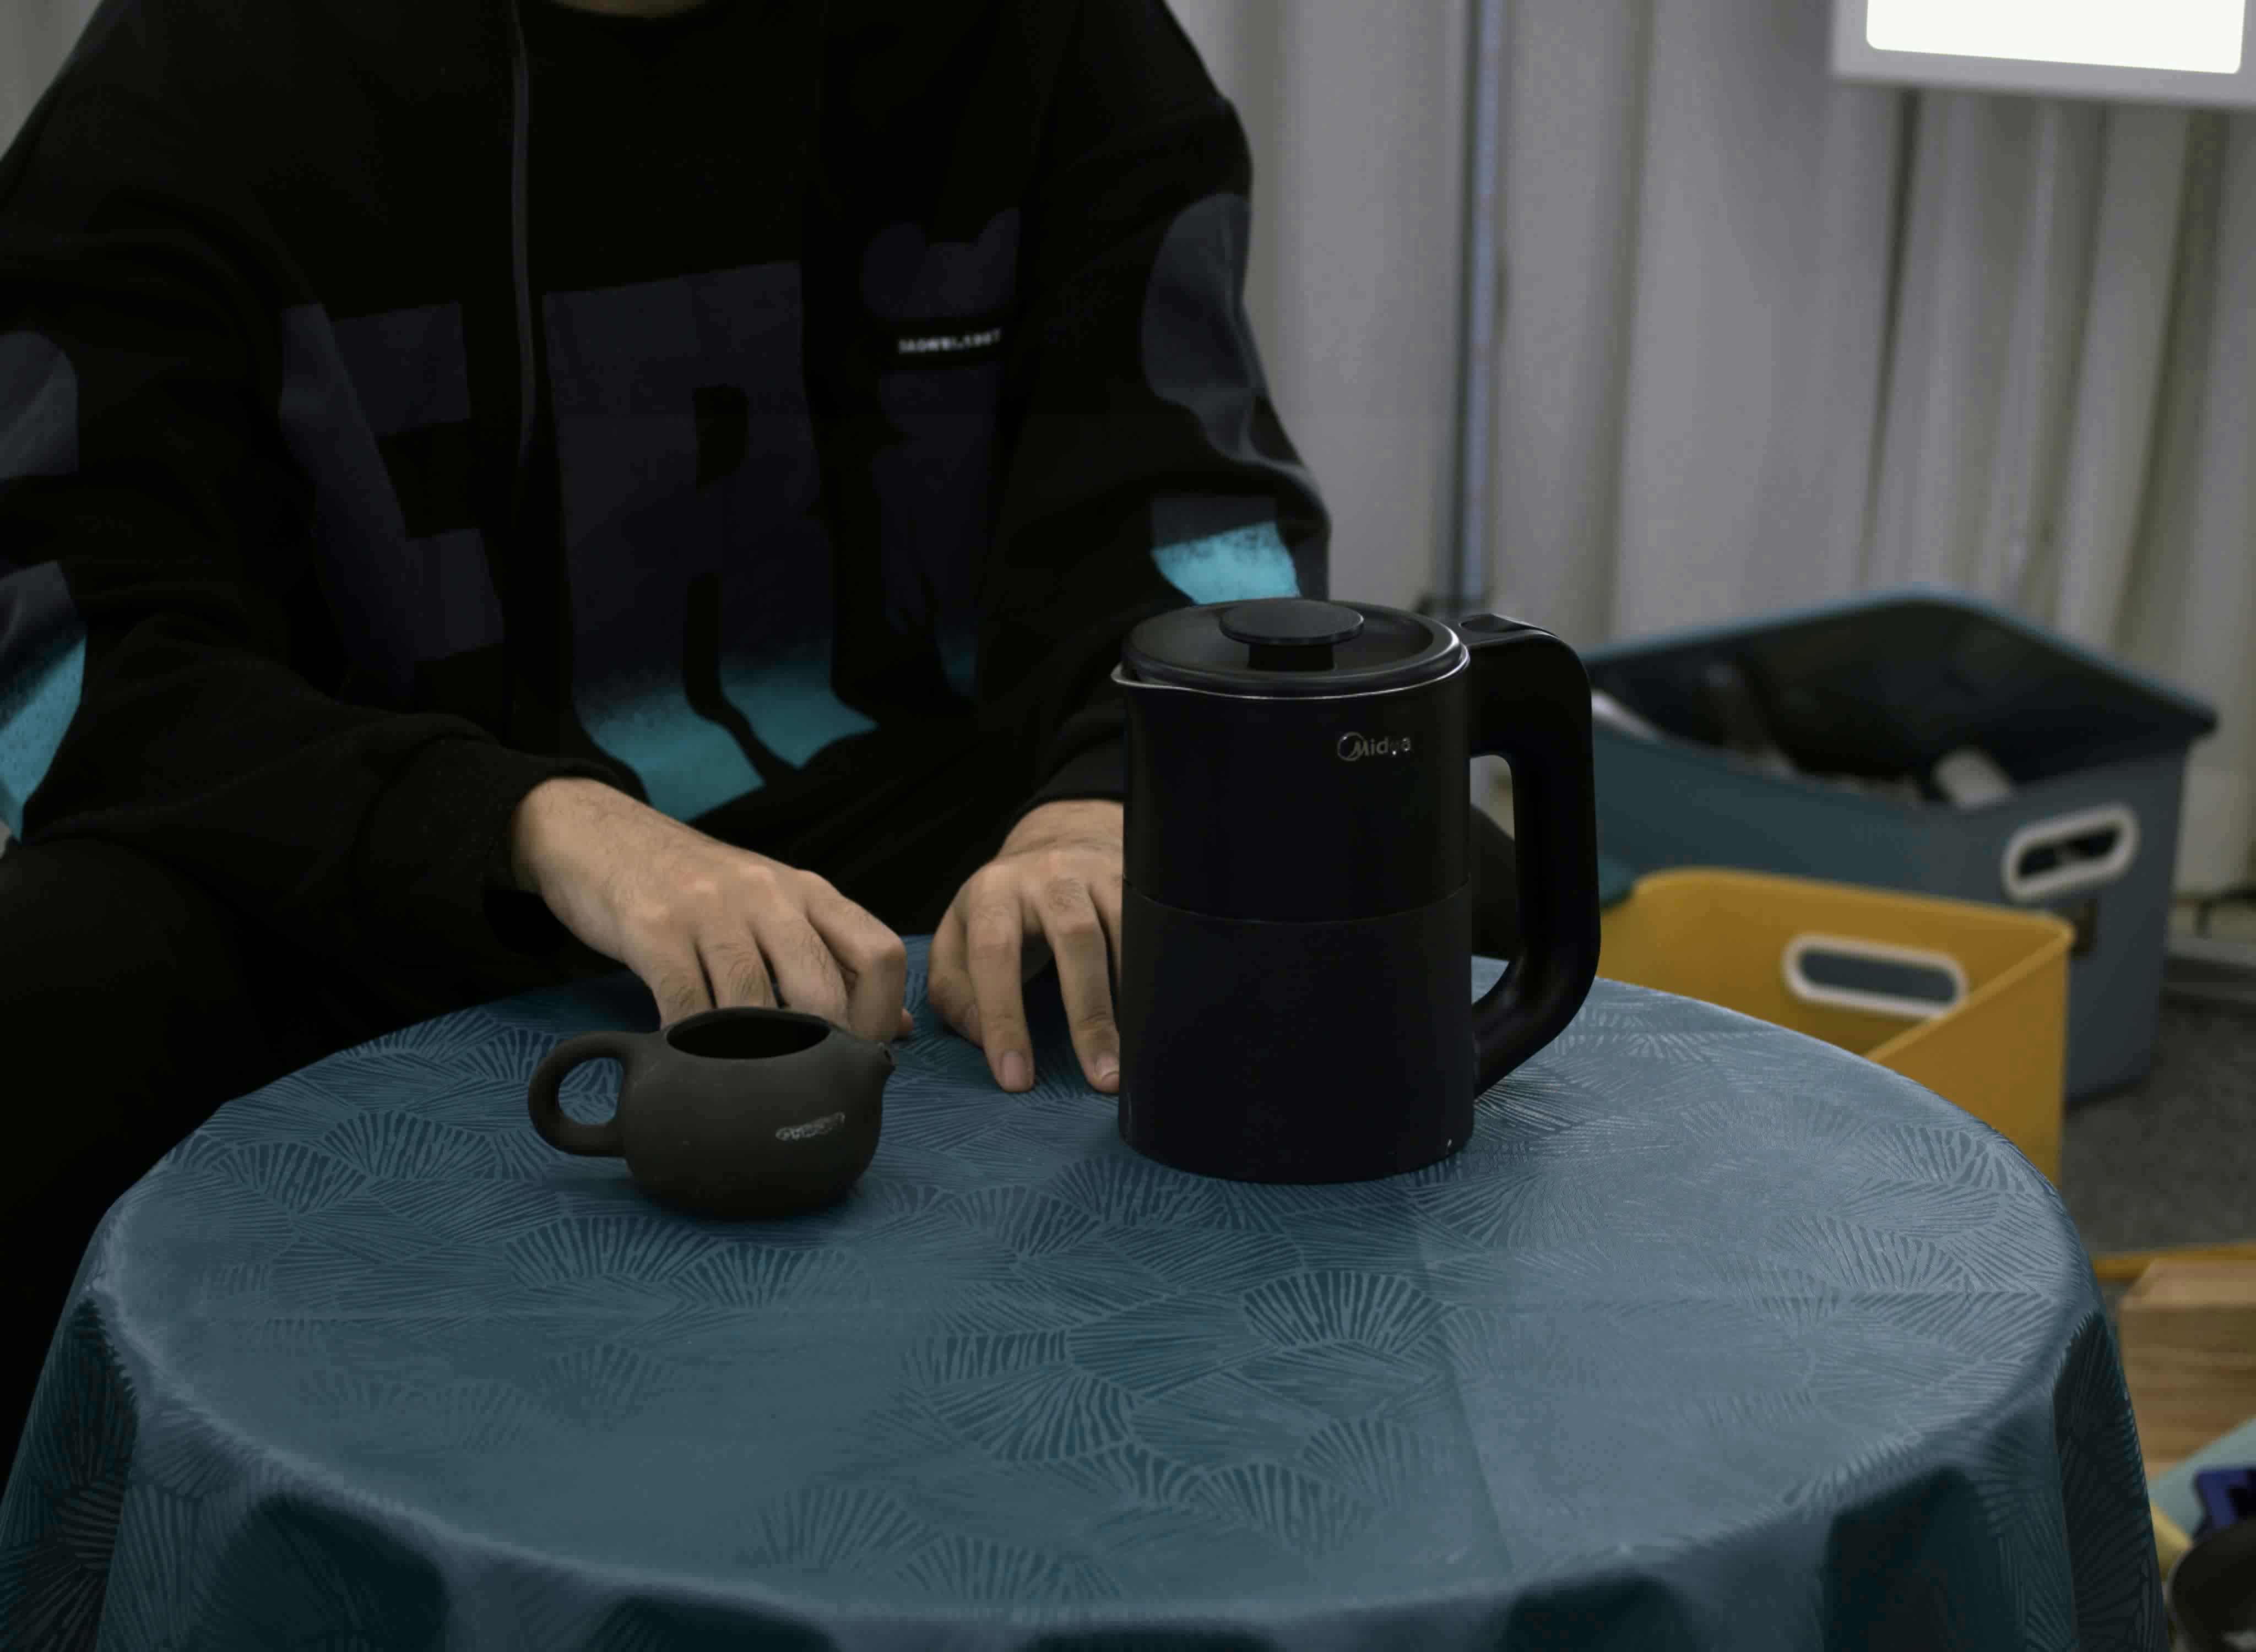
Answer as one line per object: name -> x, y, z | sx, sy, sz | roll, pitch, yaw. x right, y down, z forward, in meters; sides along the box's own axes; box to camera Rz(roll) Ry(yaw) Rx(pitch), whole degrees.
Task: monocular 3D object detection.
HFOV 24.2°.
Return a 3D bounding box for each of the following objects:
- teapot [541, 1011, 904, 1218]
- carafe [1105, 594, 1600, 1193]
teapot -> -0.125, 0.087, 1.615 | 0.113, 0.053, 0.083 | 6, 16, 10
carafe -> 0.072, 0.011, 1.666 | 0.172, 0.175, 0.113 | -12, 18, -29
